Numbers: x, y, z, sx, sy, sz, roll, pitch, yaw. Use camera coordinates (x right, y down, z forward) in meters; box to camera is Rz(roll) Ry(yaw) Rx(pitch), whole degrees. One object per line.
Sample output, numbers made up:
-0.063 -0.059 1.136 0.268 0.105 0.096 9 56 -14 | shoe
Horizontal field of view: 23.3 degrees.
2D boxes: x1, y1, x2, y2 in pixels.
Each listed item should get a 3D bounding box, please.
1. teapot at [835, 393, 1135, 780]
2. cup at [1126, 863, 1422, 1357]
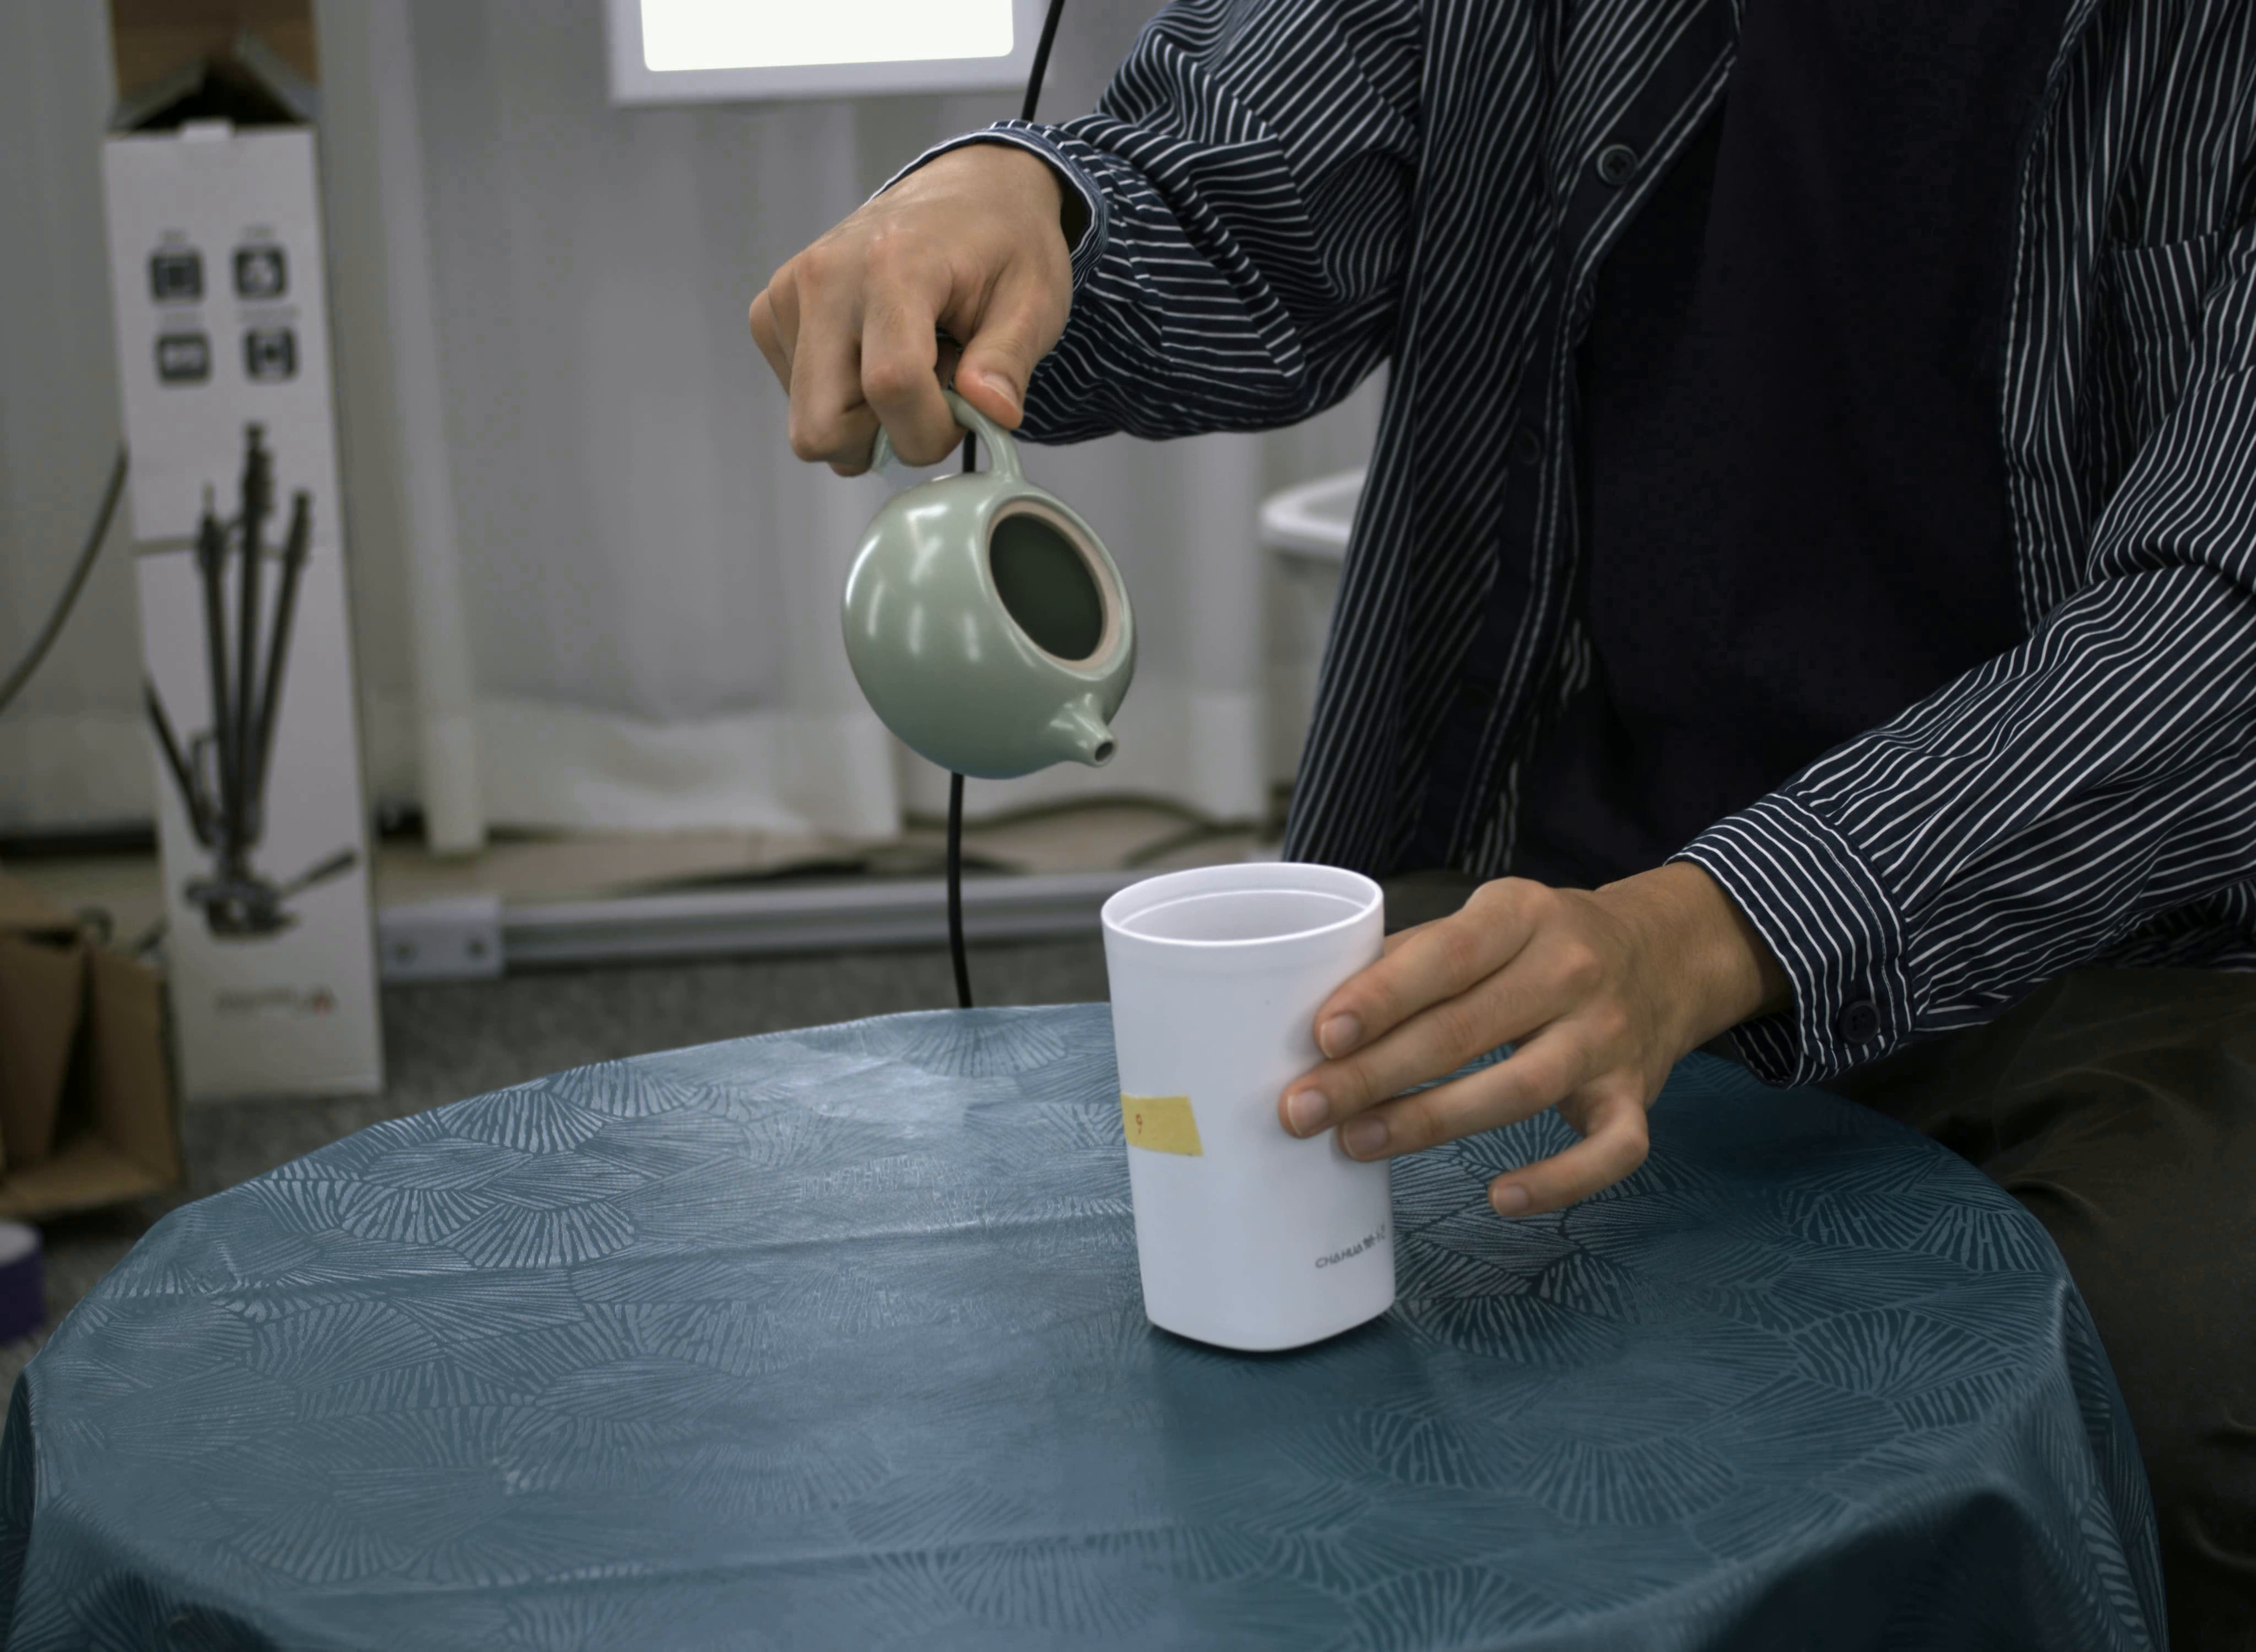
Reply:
-0.045 -0.067 1.595 0.091 0.130 0.060 6 -29 -45 | teapot
0.044 0.082 1.570 0.081 0.125 0.082 -4 14 1 | cup
